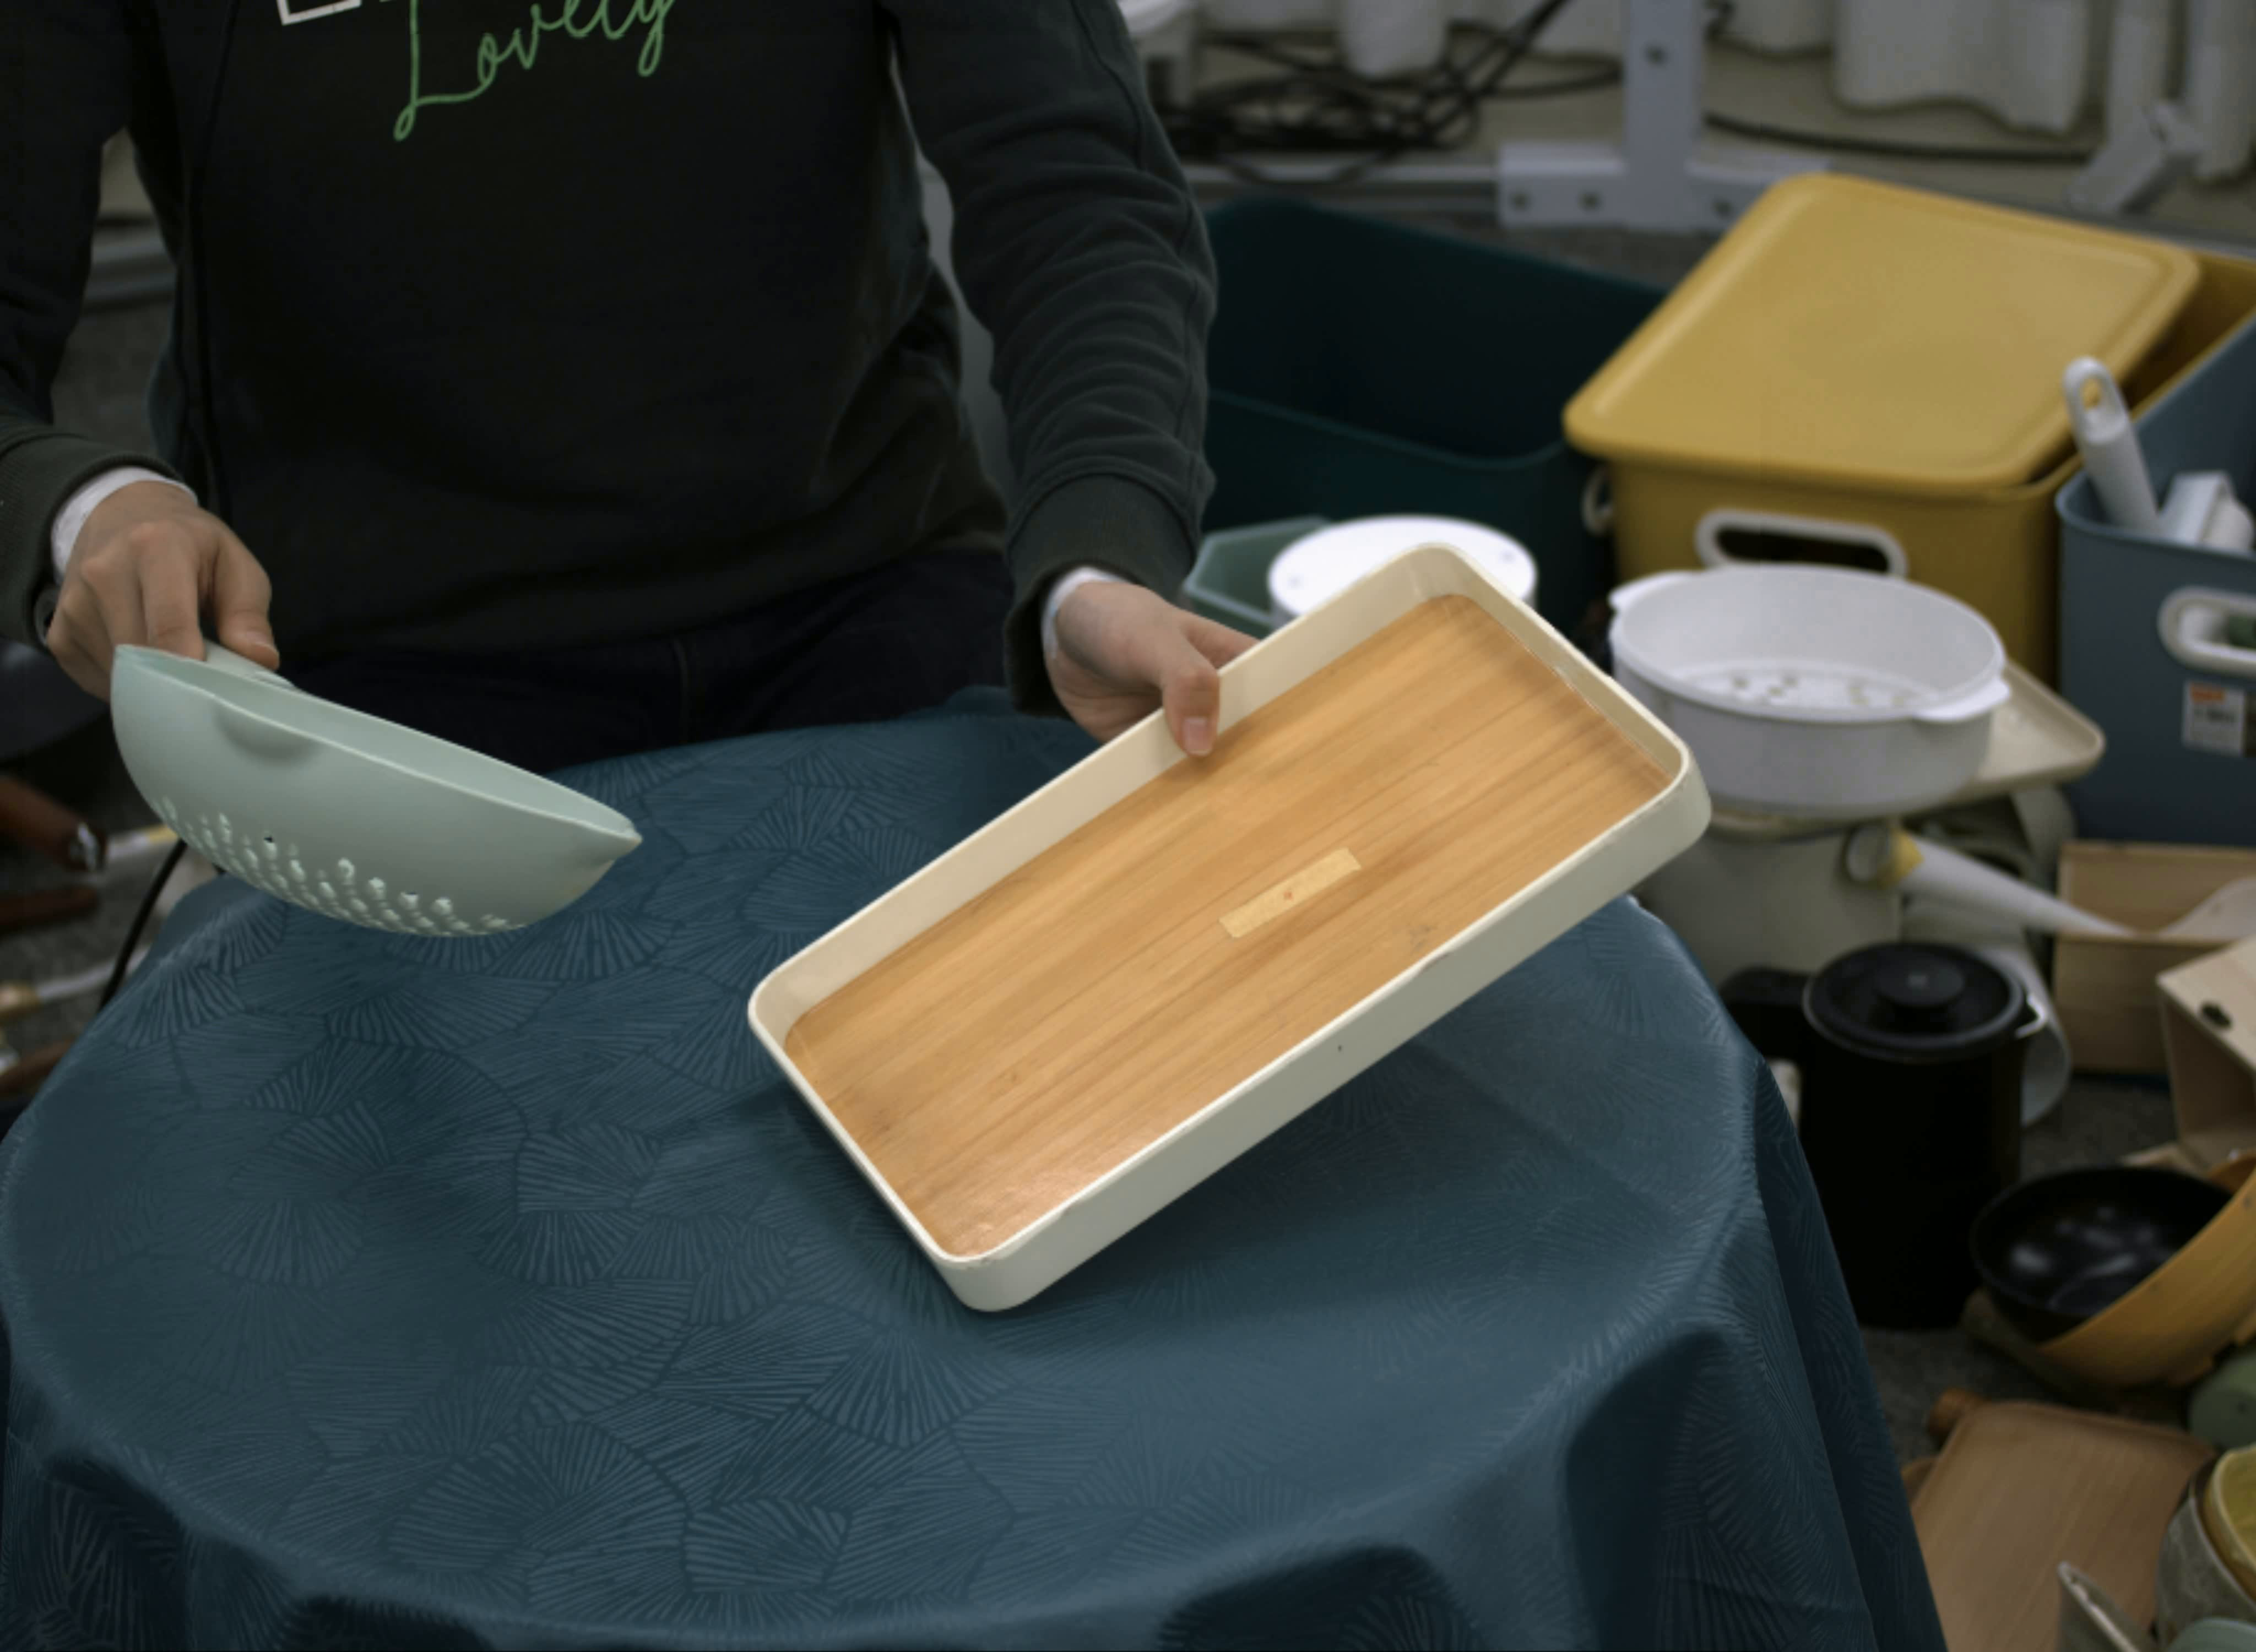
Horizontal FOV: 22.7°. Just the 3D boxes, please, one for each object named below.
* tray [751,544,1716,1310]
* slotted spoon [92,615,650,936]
[{"bbox_3d":[0.032,0.029,1.881,0.301,0.027,0.193,-33,37,-9],"label":"tray"},{"bbox_3d":[-0.278,-0.033,1.825,0.169,0.075,0.360,21,8,-28],"label":"slotted spoon"}]
